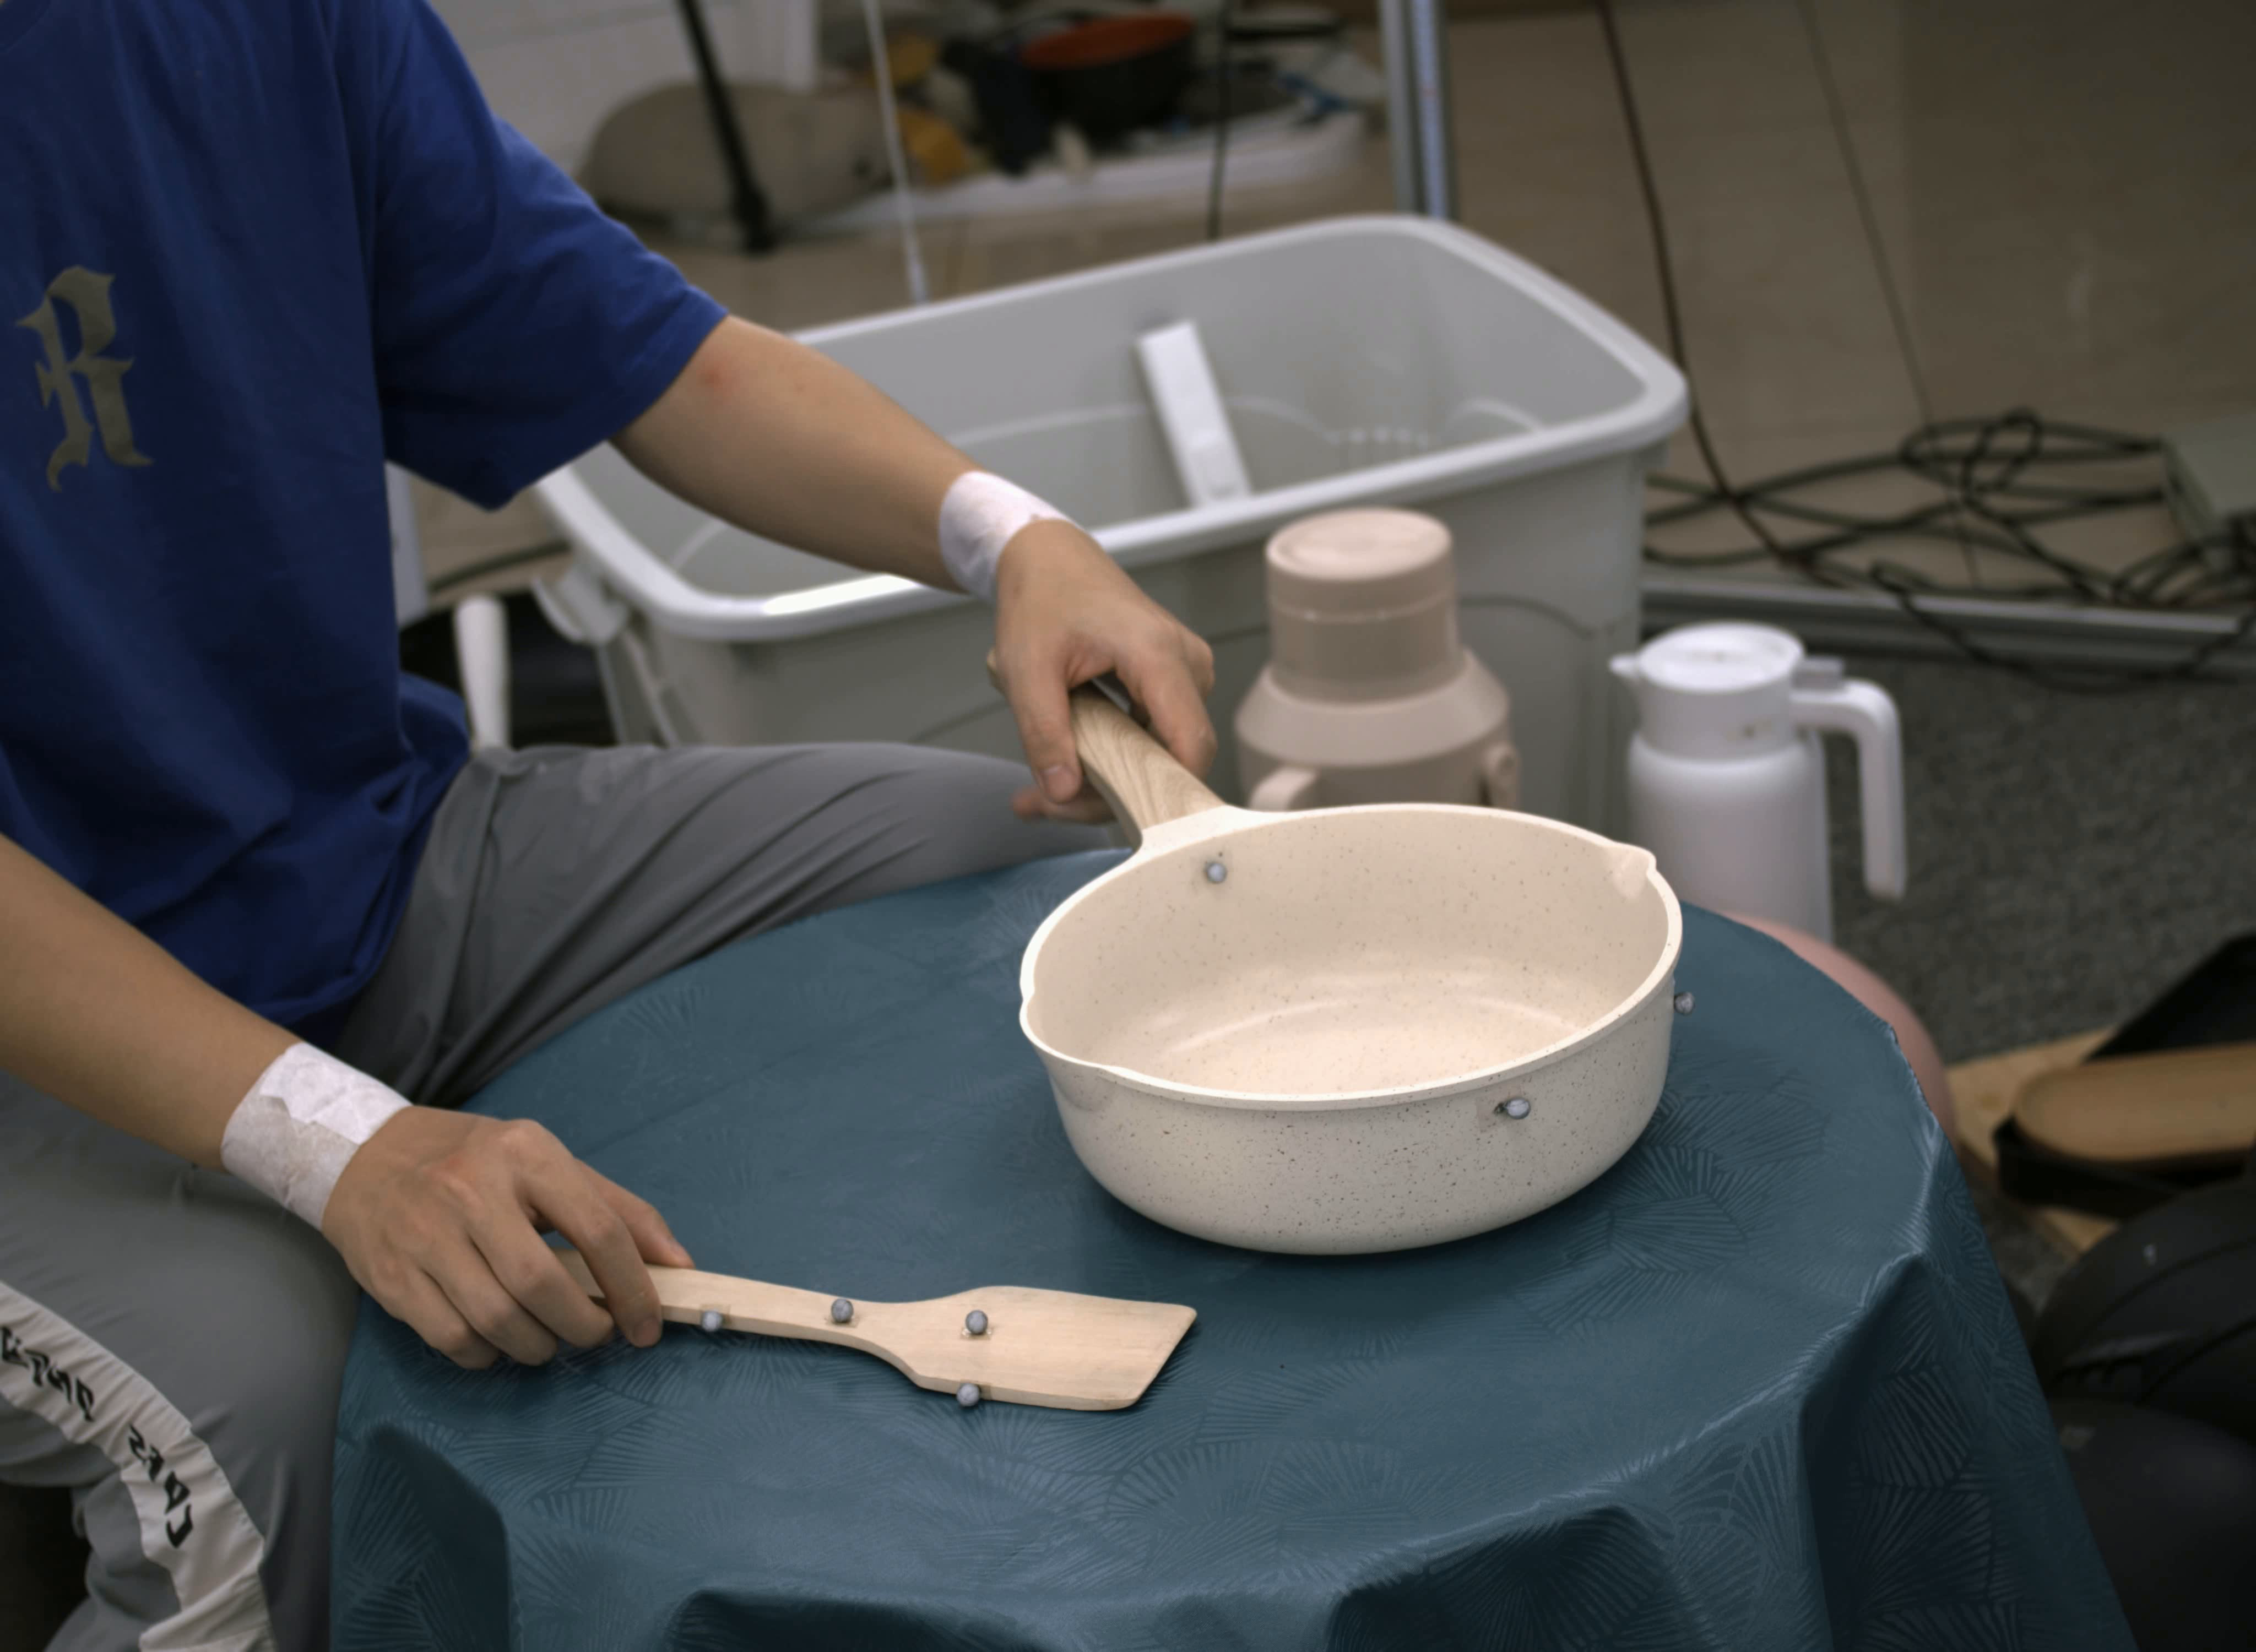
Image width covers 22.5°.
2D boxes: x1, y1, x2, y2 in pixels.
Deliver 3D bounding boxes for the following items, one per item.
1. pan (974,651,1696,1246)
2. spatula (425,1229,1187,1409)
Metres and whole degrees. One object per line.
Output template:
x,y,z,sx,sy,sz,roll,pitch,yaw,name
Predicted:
0.051,0.041,2.225,0.262,0.103,0.430,-19,27,-21,pan
-0.125,0.176,2.076,0.292,0.011,0.071,7,28,19,spatula
